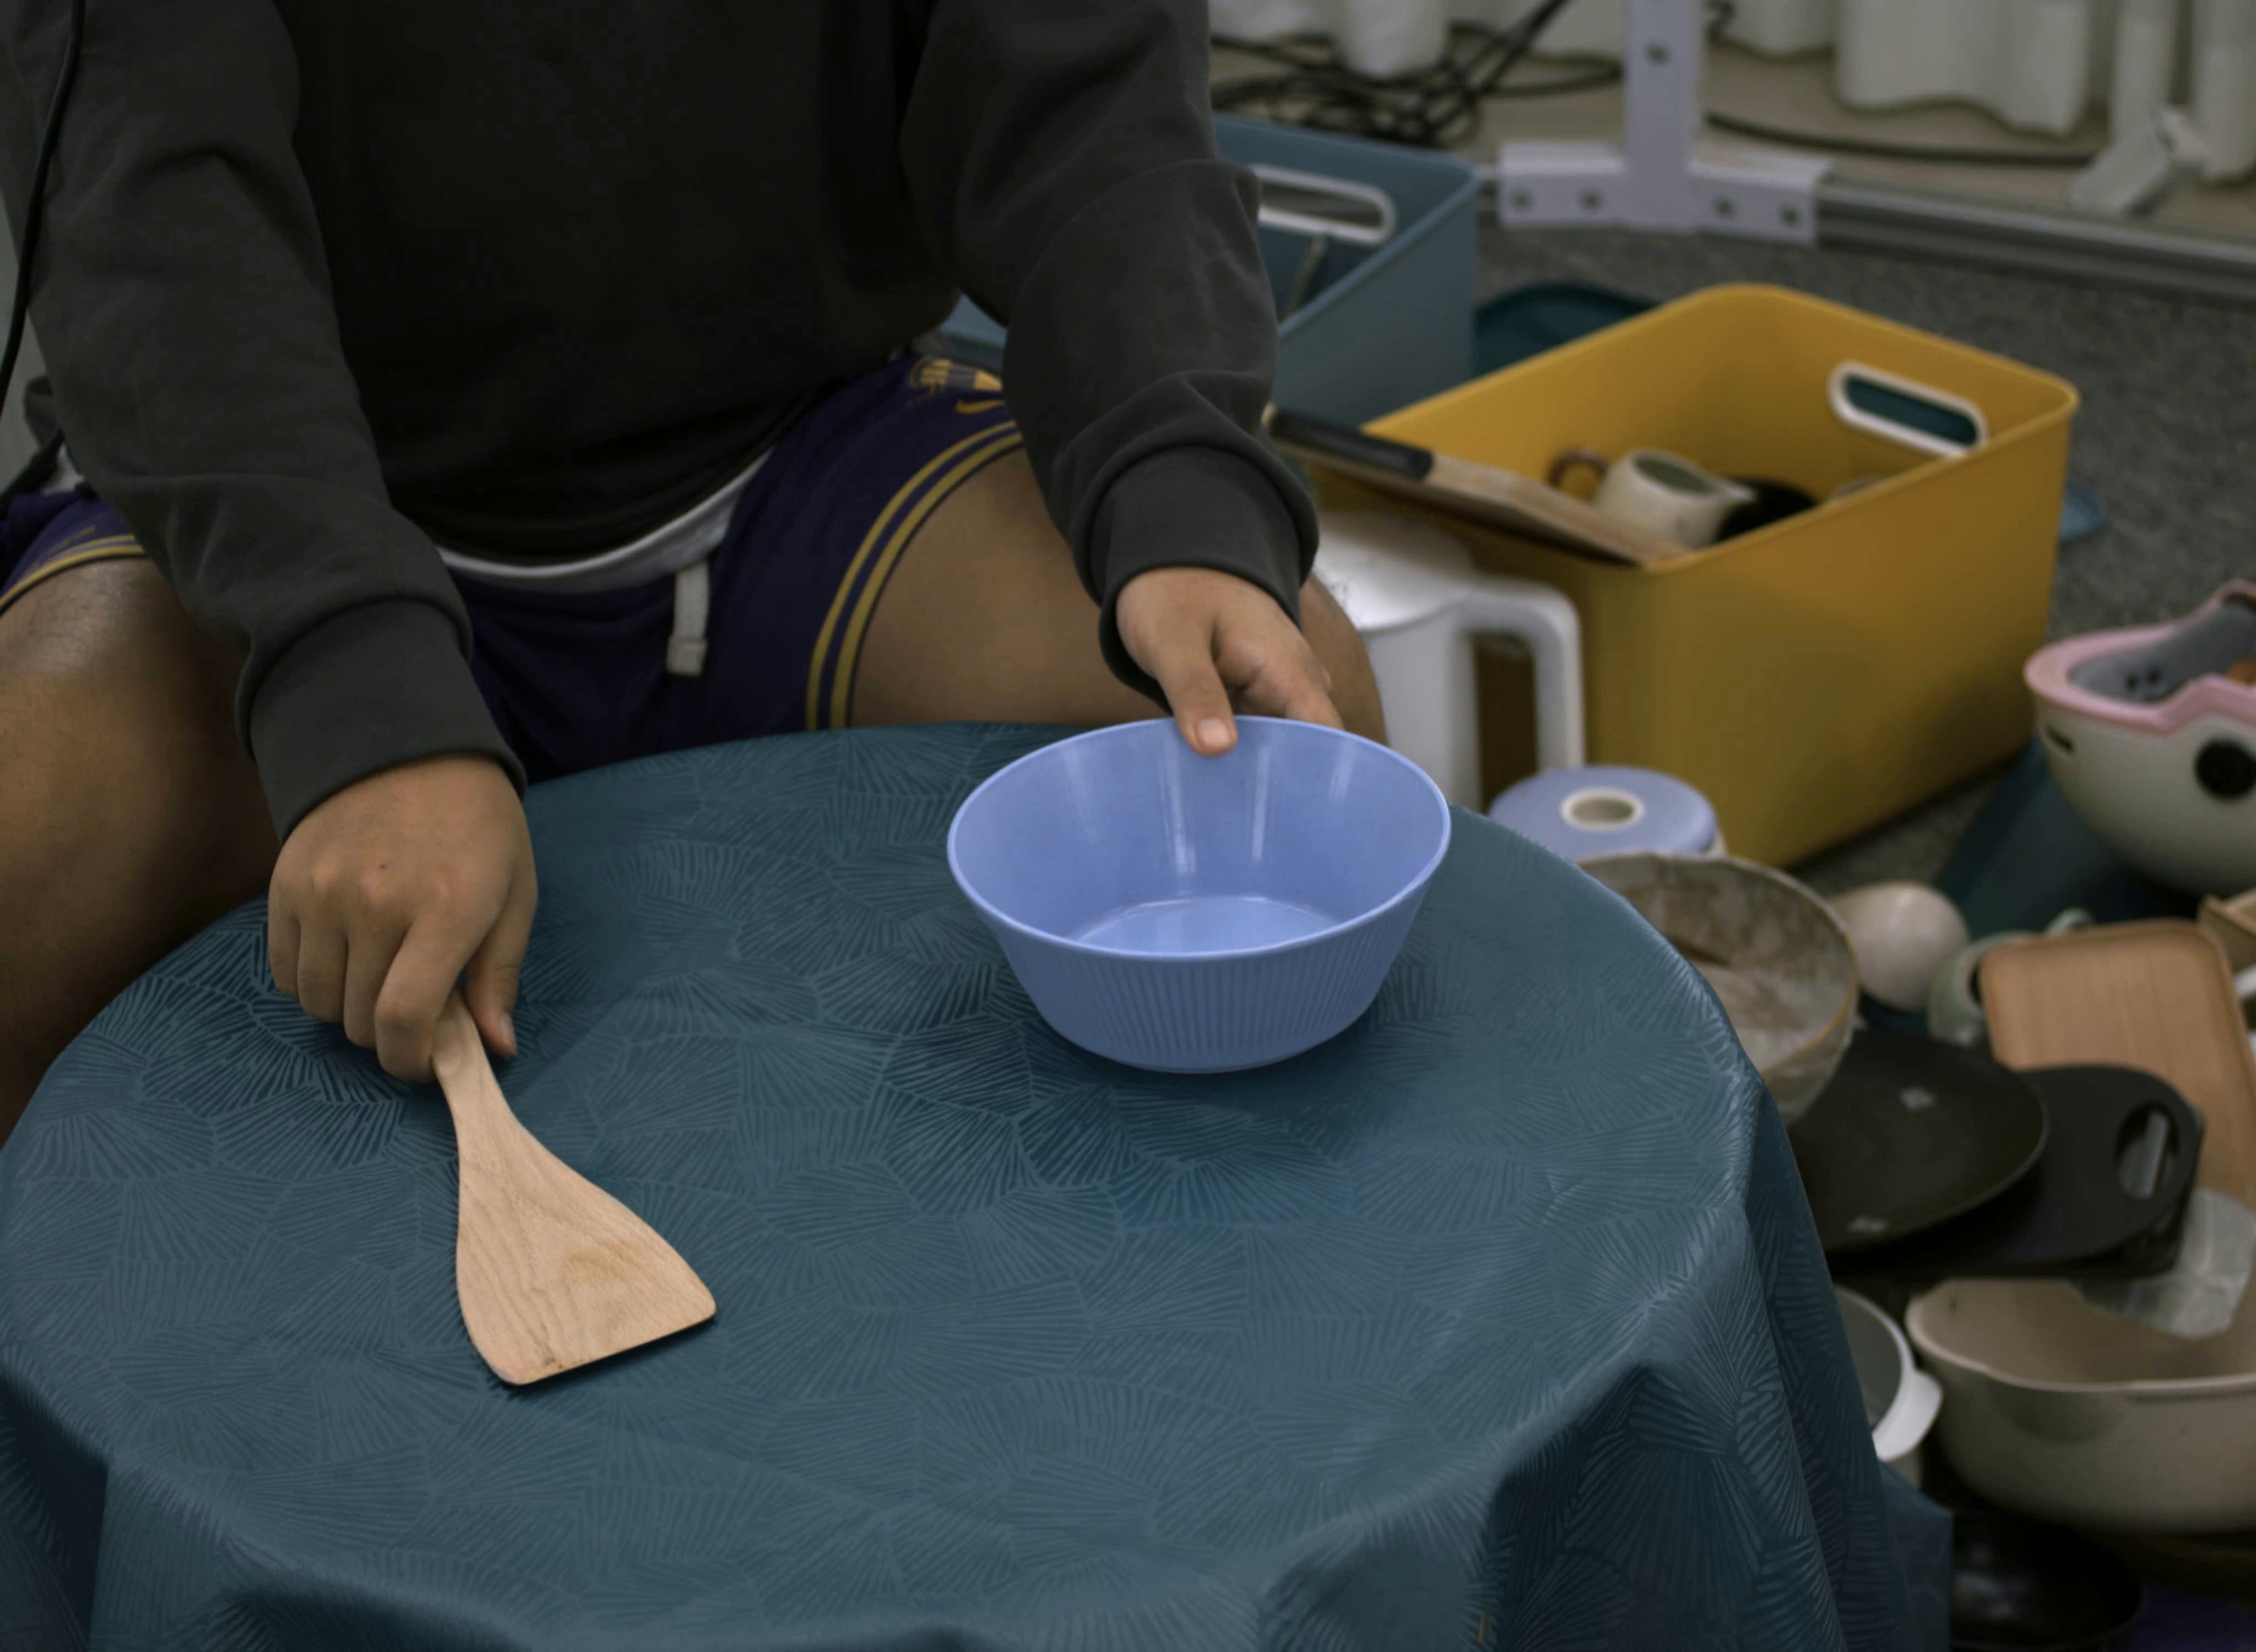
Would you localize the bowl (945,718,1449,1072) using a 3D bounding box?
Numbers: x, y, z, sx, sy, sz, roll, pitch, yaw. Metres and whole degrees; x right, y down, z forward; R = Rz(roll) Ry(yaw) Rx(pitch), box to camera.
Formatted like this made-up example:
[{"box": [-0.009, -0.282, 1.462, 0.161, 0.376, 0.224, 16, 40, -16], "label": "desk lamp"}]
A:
[{"box": [0.025, 0.029, 1.962, 0.175, 0.069, 0.179, -2, 27, 1], "label": "bowl"}]

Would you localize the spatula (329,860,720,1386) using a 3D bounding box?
[{"box": [-0.220, 0.093, 1.906, 0.080, 0.016, 0.331, -12, 34, -18], "label": "spatula"}]
